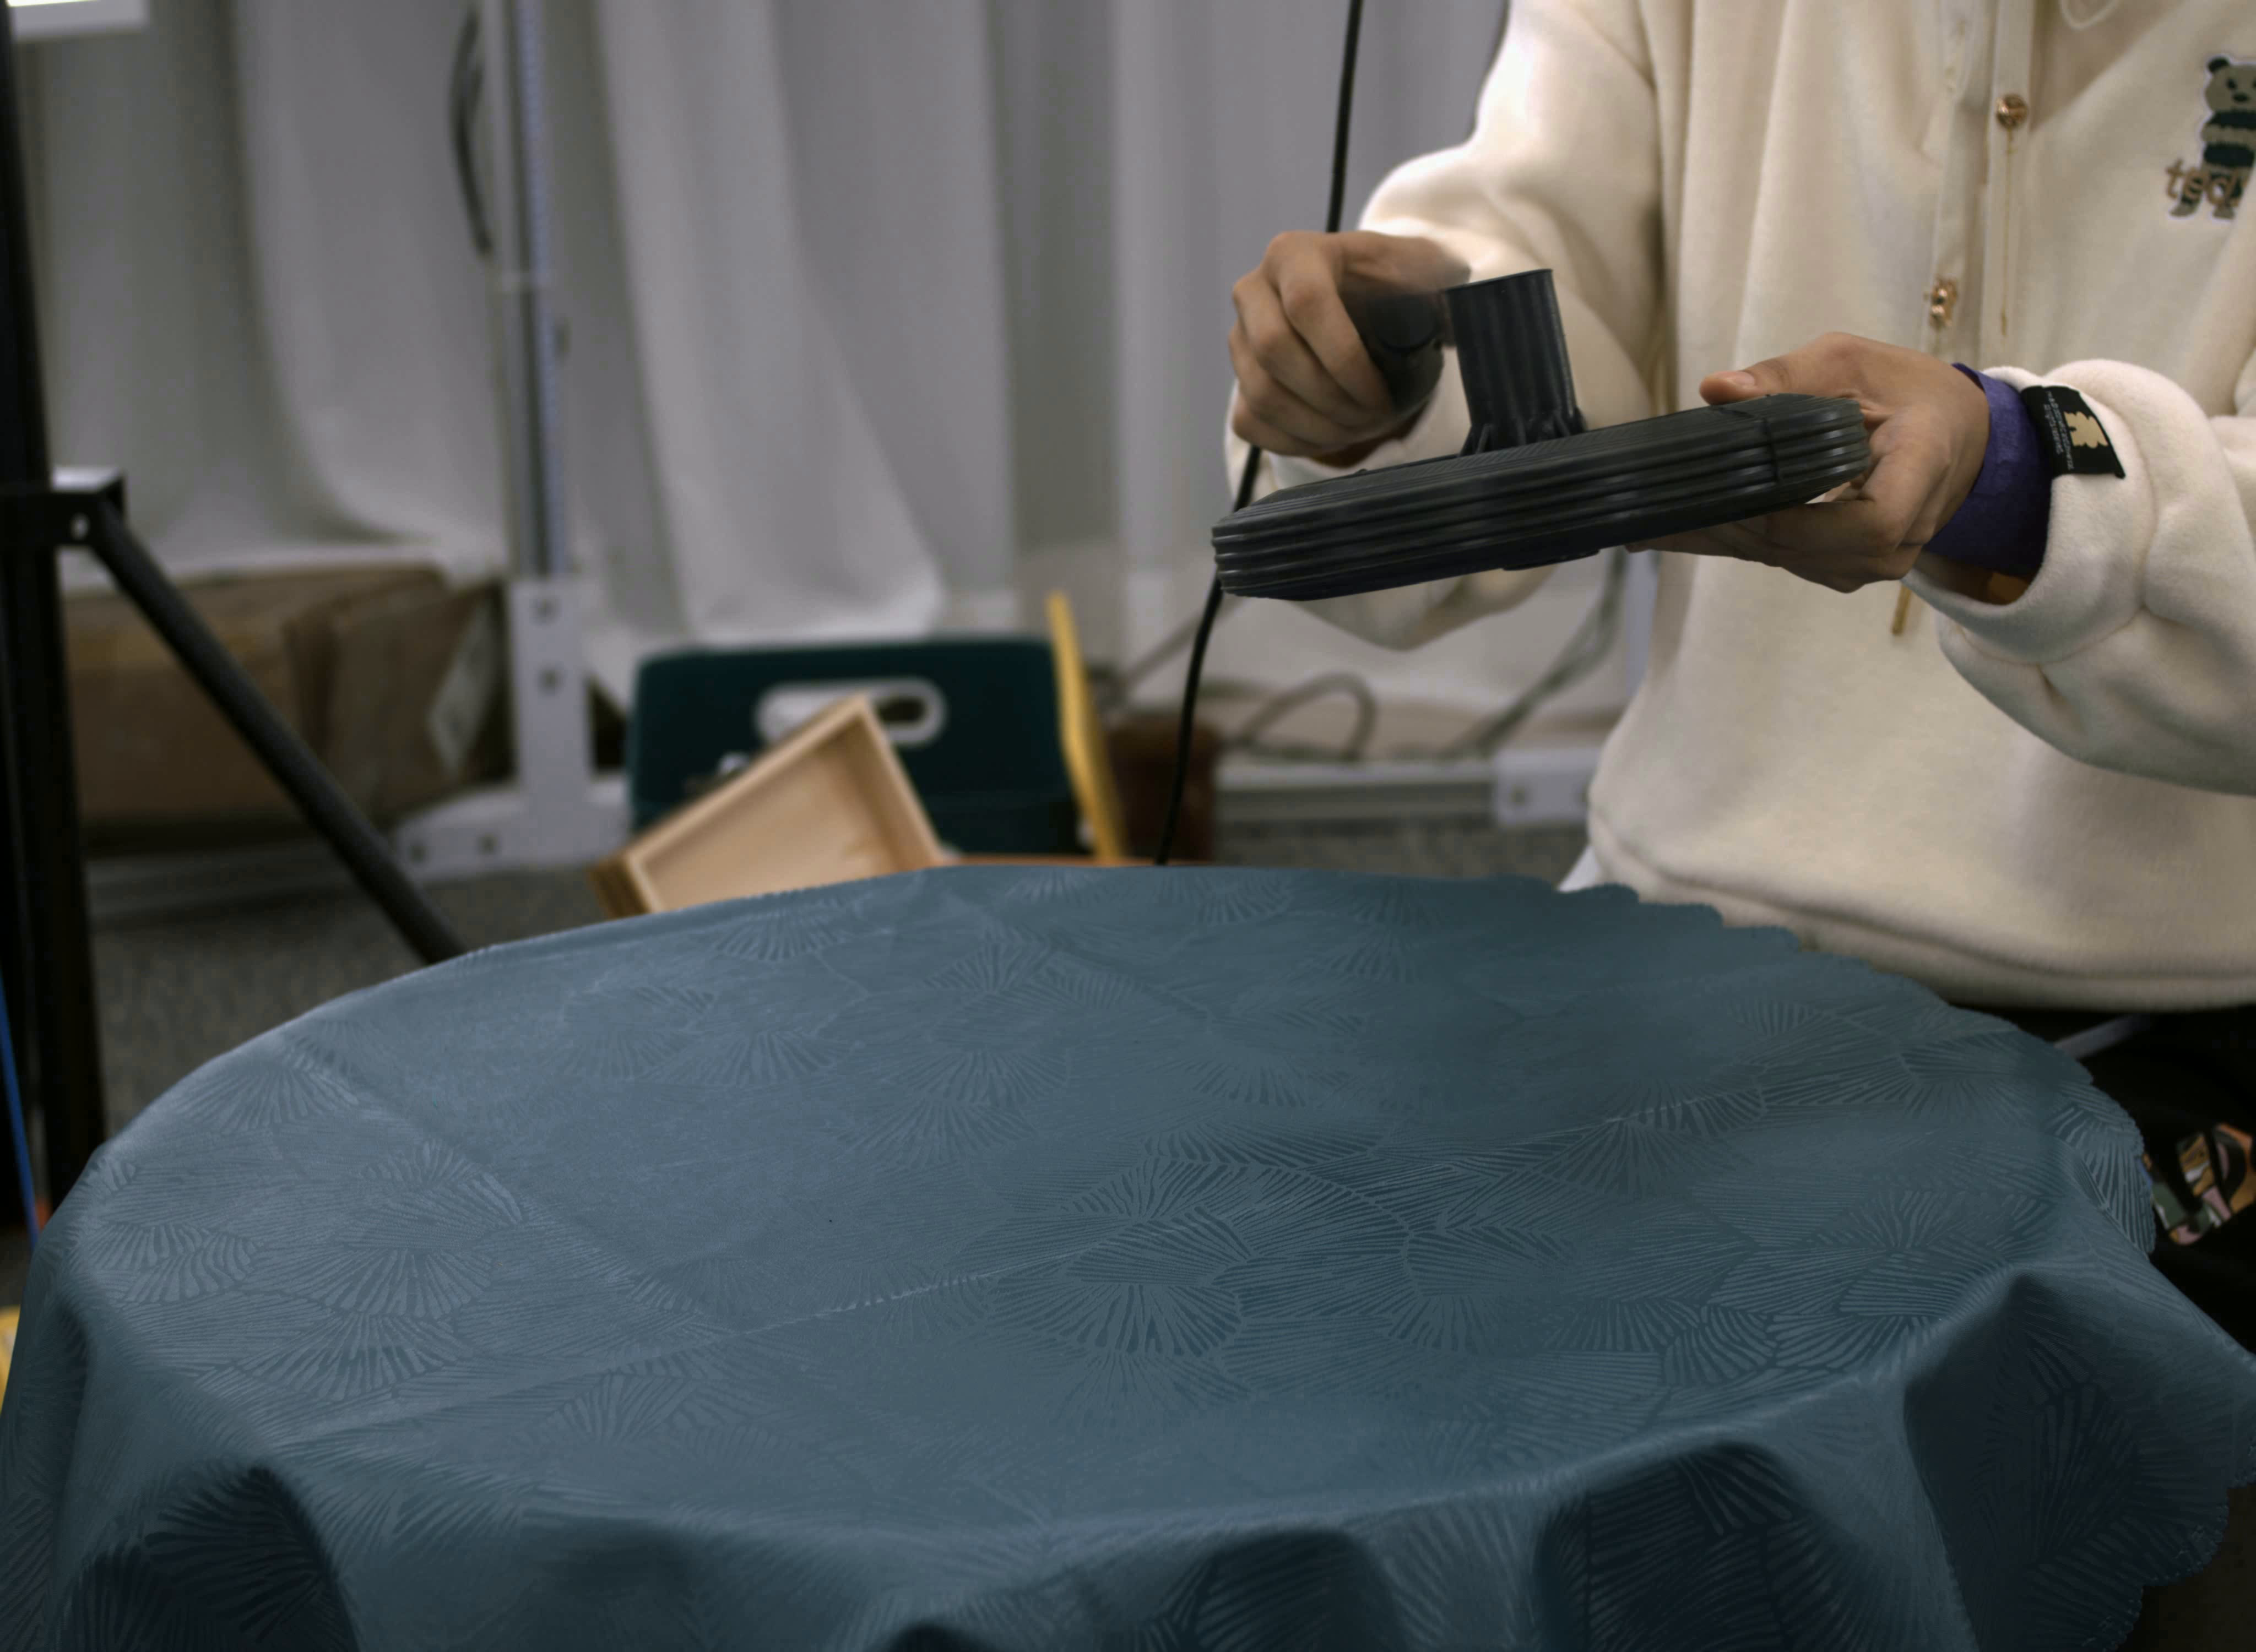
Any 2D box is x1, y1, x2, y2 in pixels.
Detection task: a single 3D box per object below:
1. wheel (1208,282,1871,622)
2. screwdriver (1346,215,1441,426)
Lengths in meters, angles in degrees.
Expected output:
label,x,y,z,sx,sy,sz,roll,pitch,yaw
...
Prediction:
label,x,y,z,sx,sy,sz,roll,pitch,yaw
wheel,0.111,-0.110,1.500,0.189,0.079,0.188,-14,3,-1
screwdriver,0.089,-0.162,1.666,0.031,0.032,0.196,-2,-13,-3
